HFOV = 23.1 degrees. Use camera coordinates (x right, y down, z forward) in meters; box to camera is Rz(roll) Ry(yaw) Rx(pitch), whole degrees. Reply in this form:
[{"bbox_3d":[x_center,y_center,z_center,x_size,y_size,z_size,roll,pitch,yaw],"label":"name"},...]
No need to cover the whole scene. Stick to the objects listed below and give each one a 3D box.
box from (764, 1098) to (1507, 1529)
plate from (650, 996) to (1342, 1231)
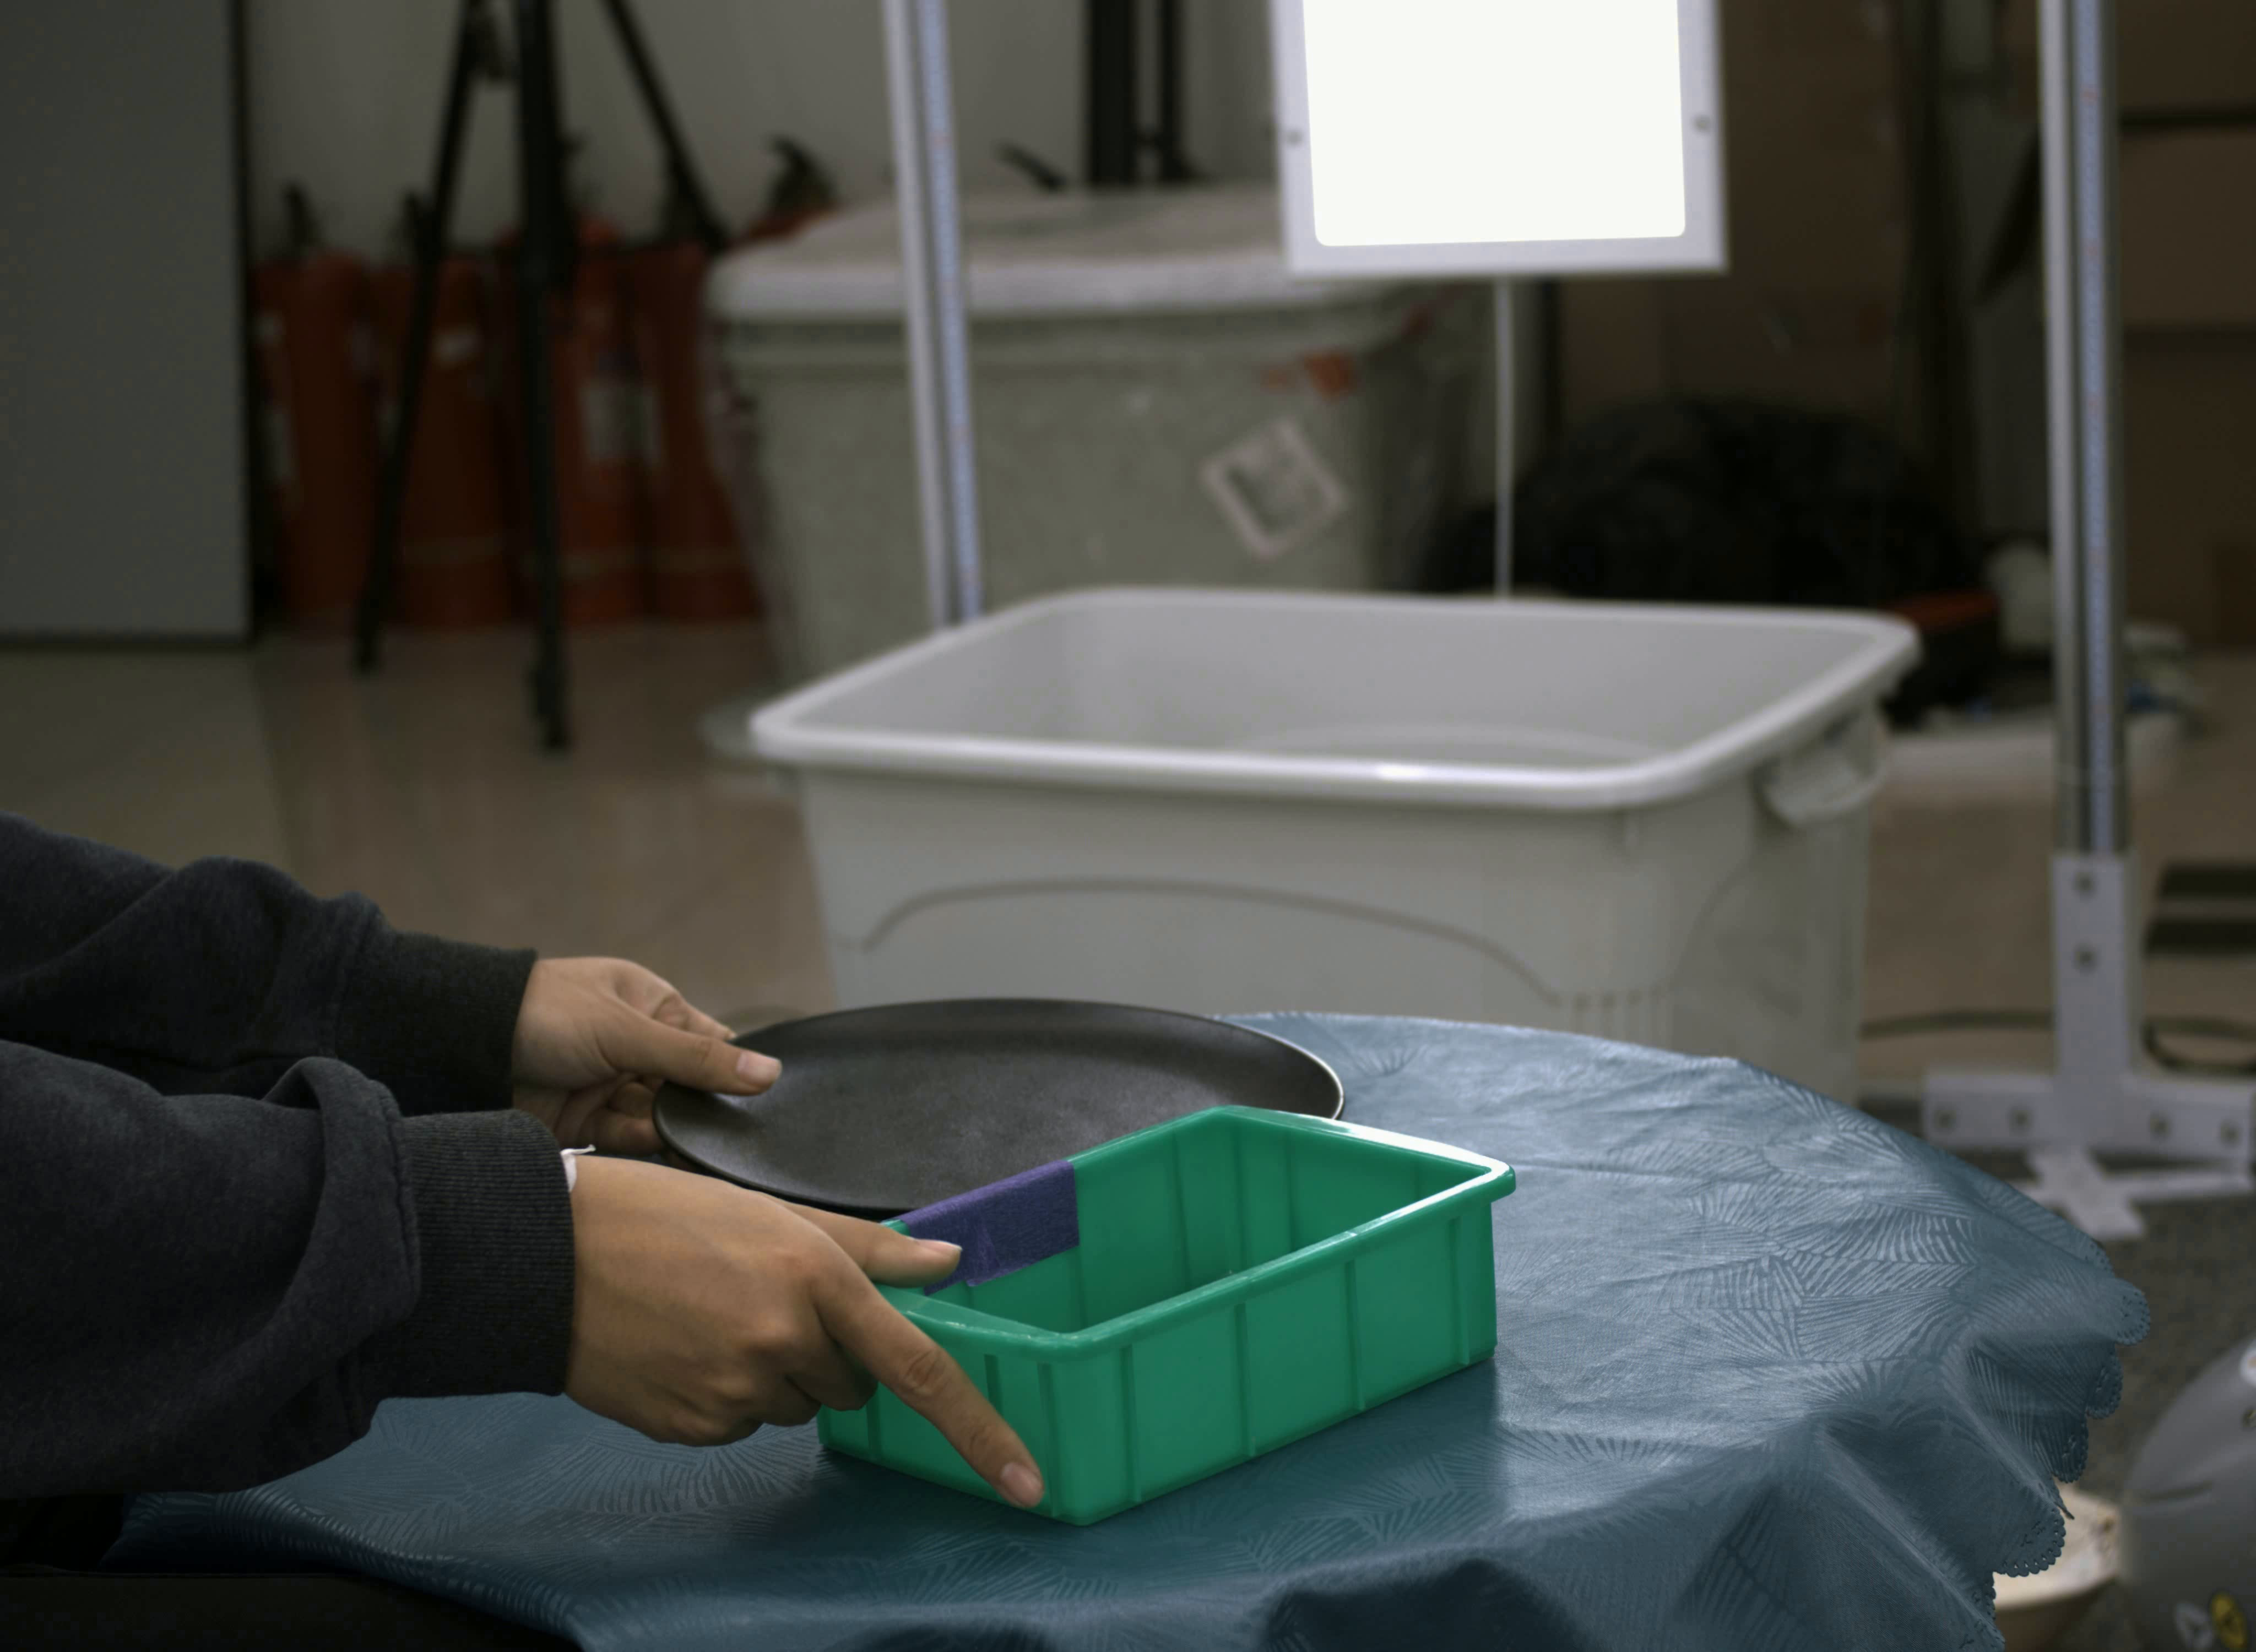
[{"bbox_3d":[0.007,0.147,1.678,0.205,0.065,0.142,-20,18,-40],"label":"box"},{"bbox_3d":[-0.046,0.105,1.930,0.243,0.023,0.244,-2,15,-1],"label":"plate"}]
